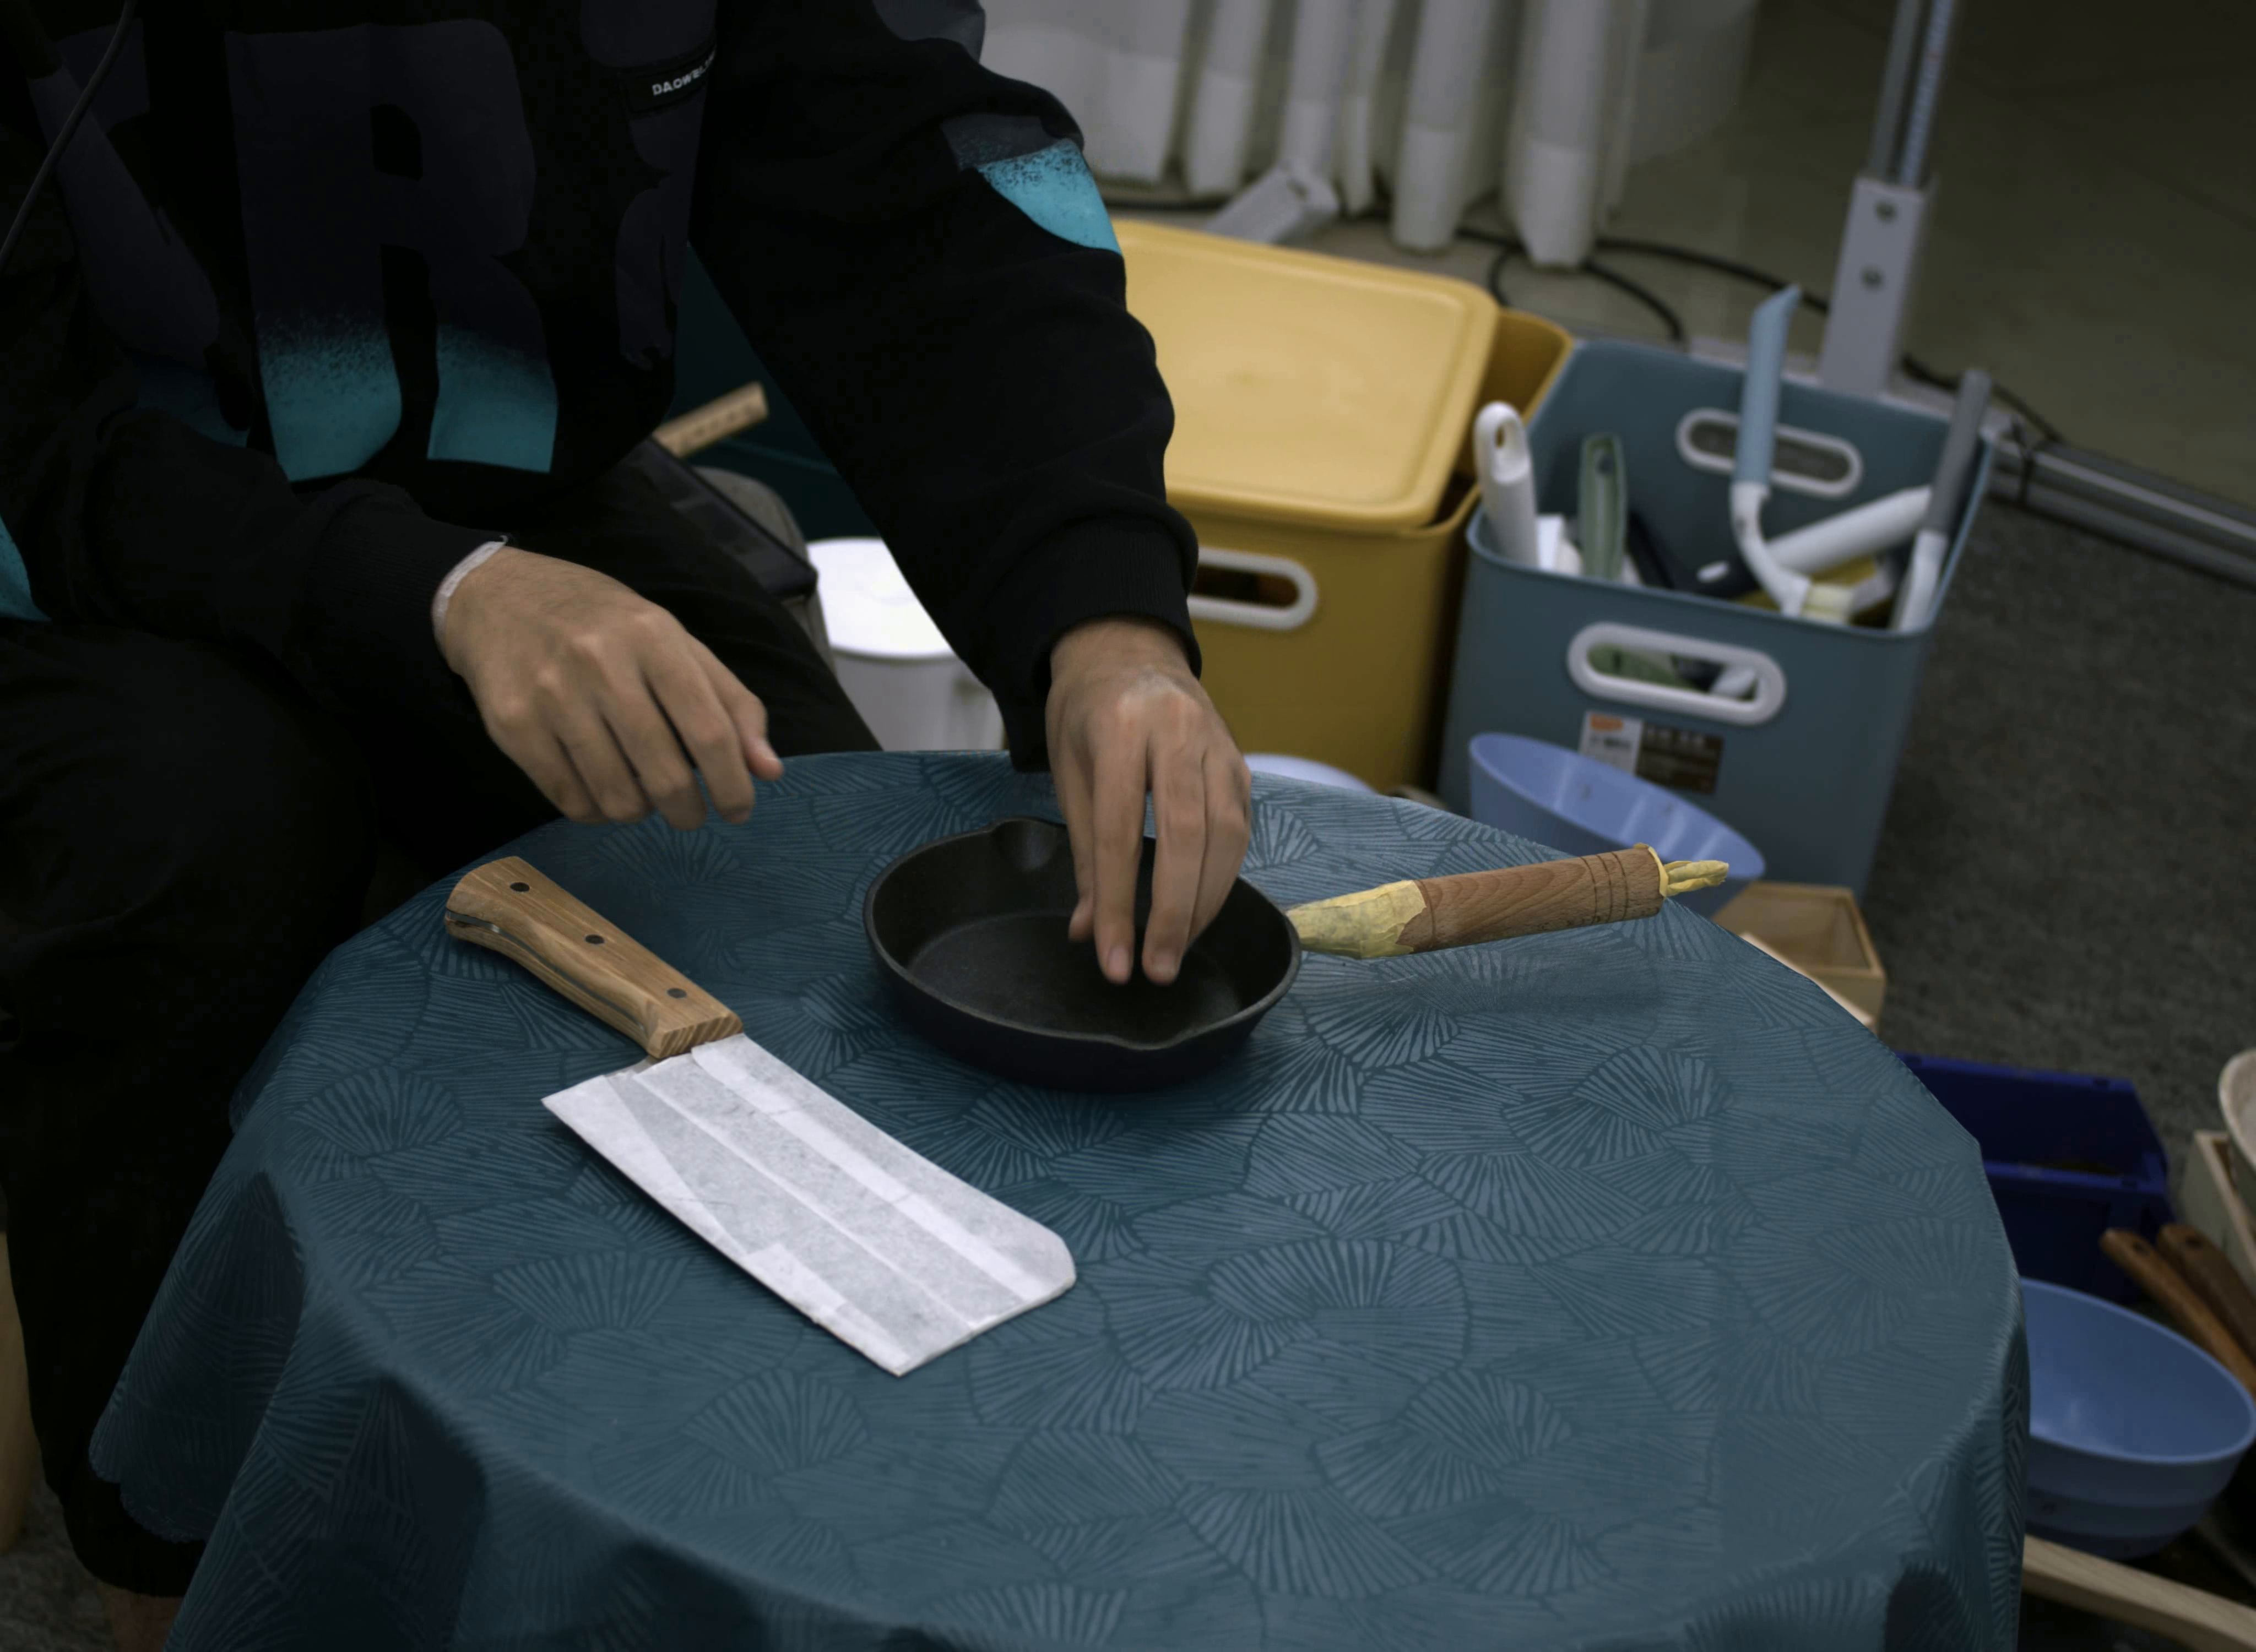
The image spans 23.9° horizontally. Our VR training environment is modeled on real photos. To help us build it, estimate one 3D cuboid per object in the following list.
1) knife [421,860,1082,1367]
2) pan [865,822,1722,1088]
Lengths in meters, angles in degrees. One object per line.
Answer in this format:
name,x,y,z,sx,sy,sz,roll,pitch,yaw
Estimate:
knife,-0.140,0.093,1.811,0.113,0.021,0.318,-16,37,-37
pan,0.064,0.039,1.926,0.322,0.049,0.170,-3,28,-16
